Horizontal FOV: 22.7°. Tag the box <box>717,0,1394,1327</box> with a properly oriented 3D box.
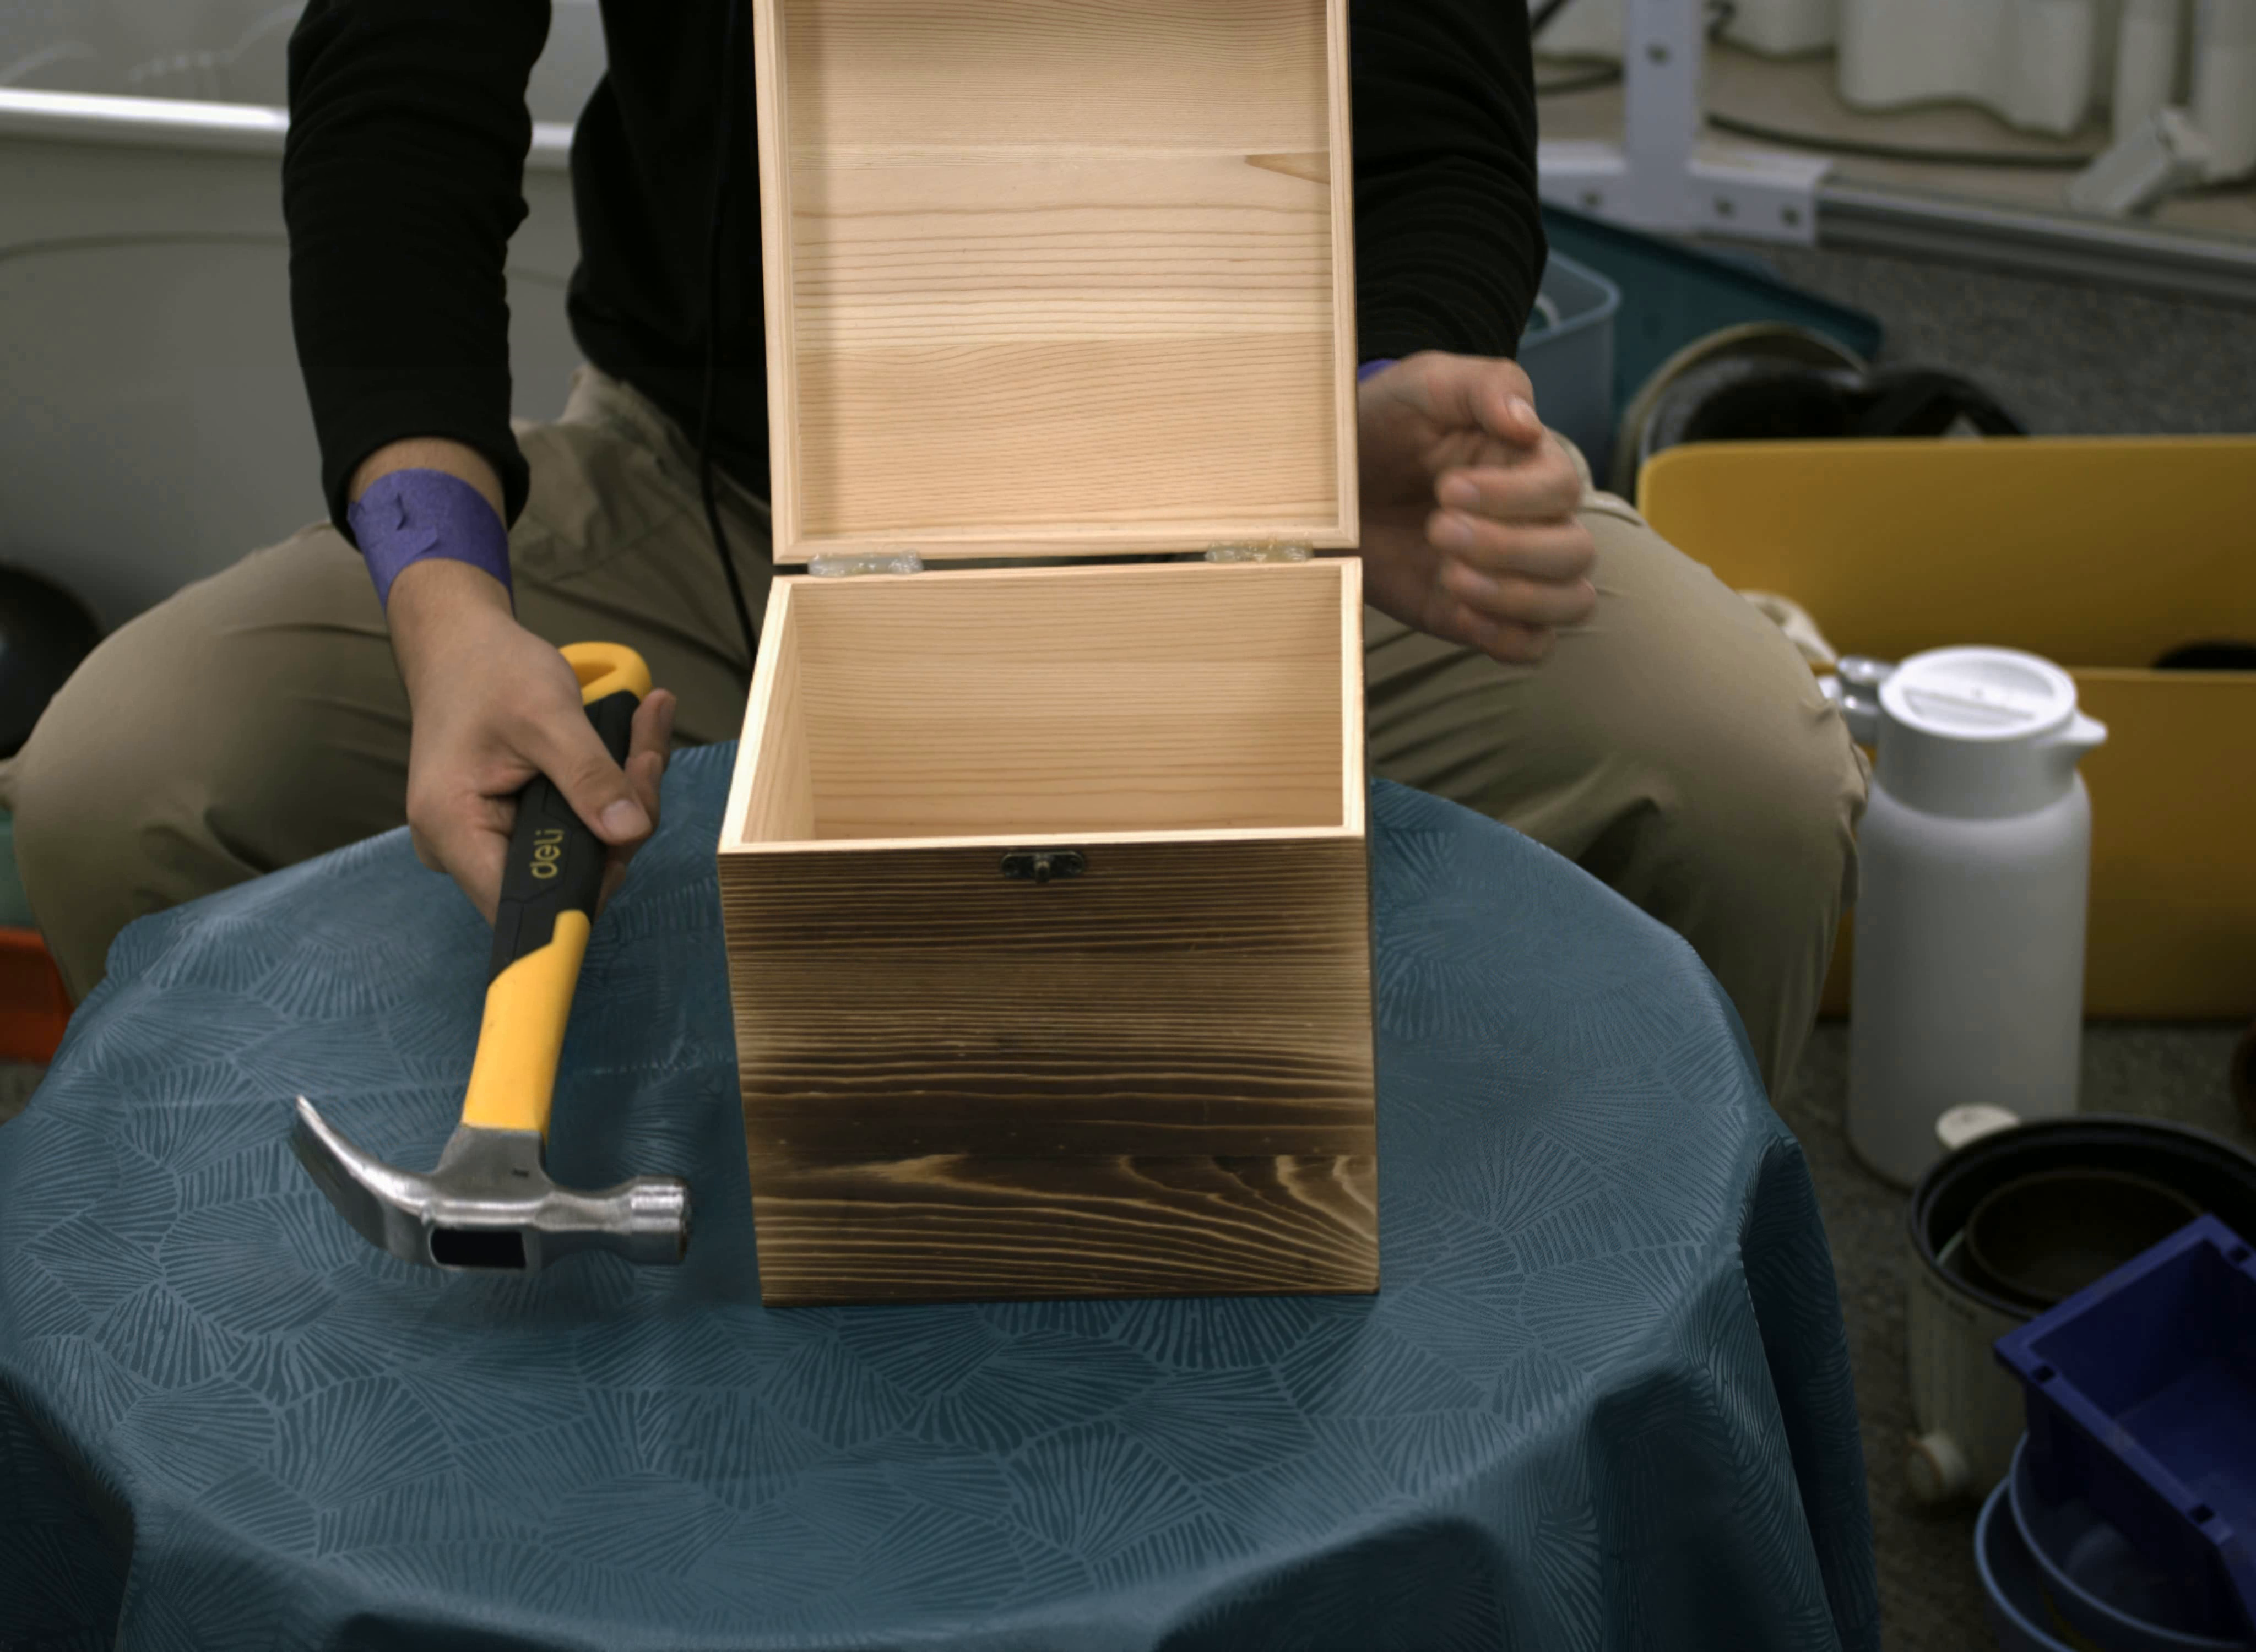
[{"bbox_3d":[-0.024,-0.075,1.859,0.207,0.372,0.327,-2,25,3],"label":"box"}]

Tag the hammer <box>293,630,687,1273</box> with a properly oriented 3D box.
[{"bbox_3d":[-0.201,0.034,1.921,0.131,0.032,0.345,1,35,2],"label":"hammer"}]
